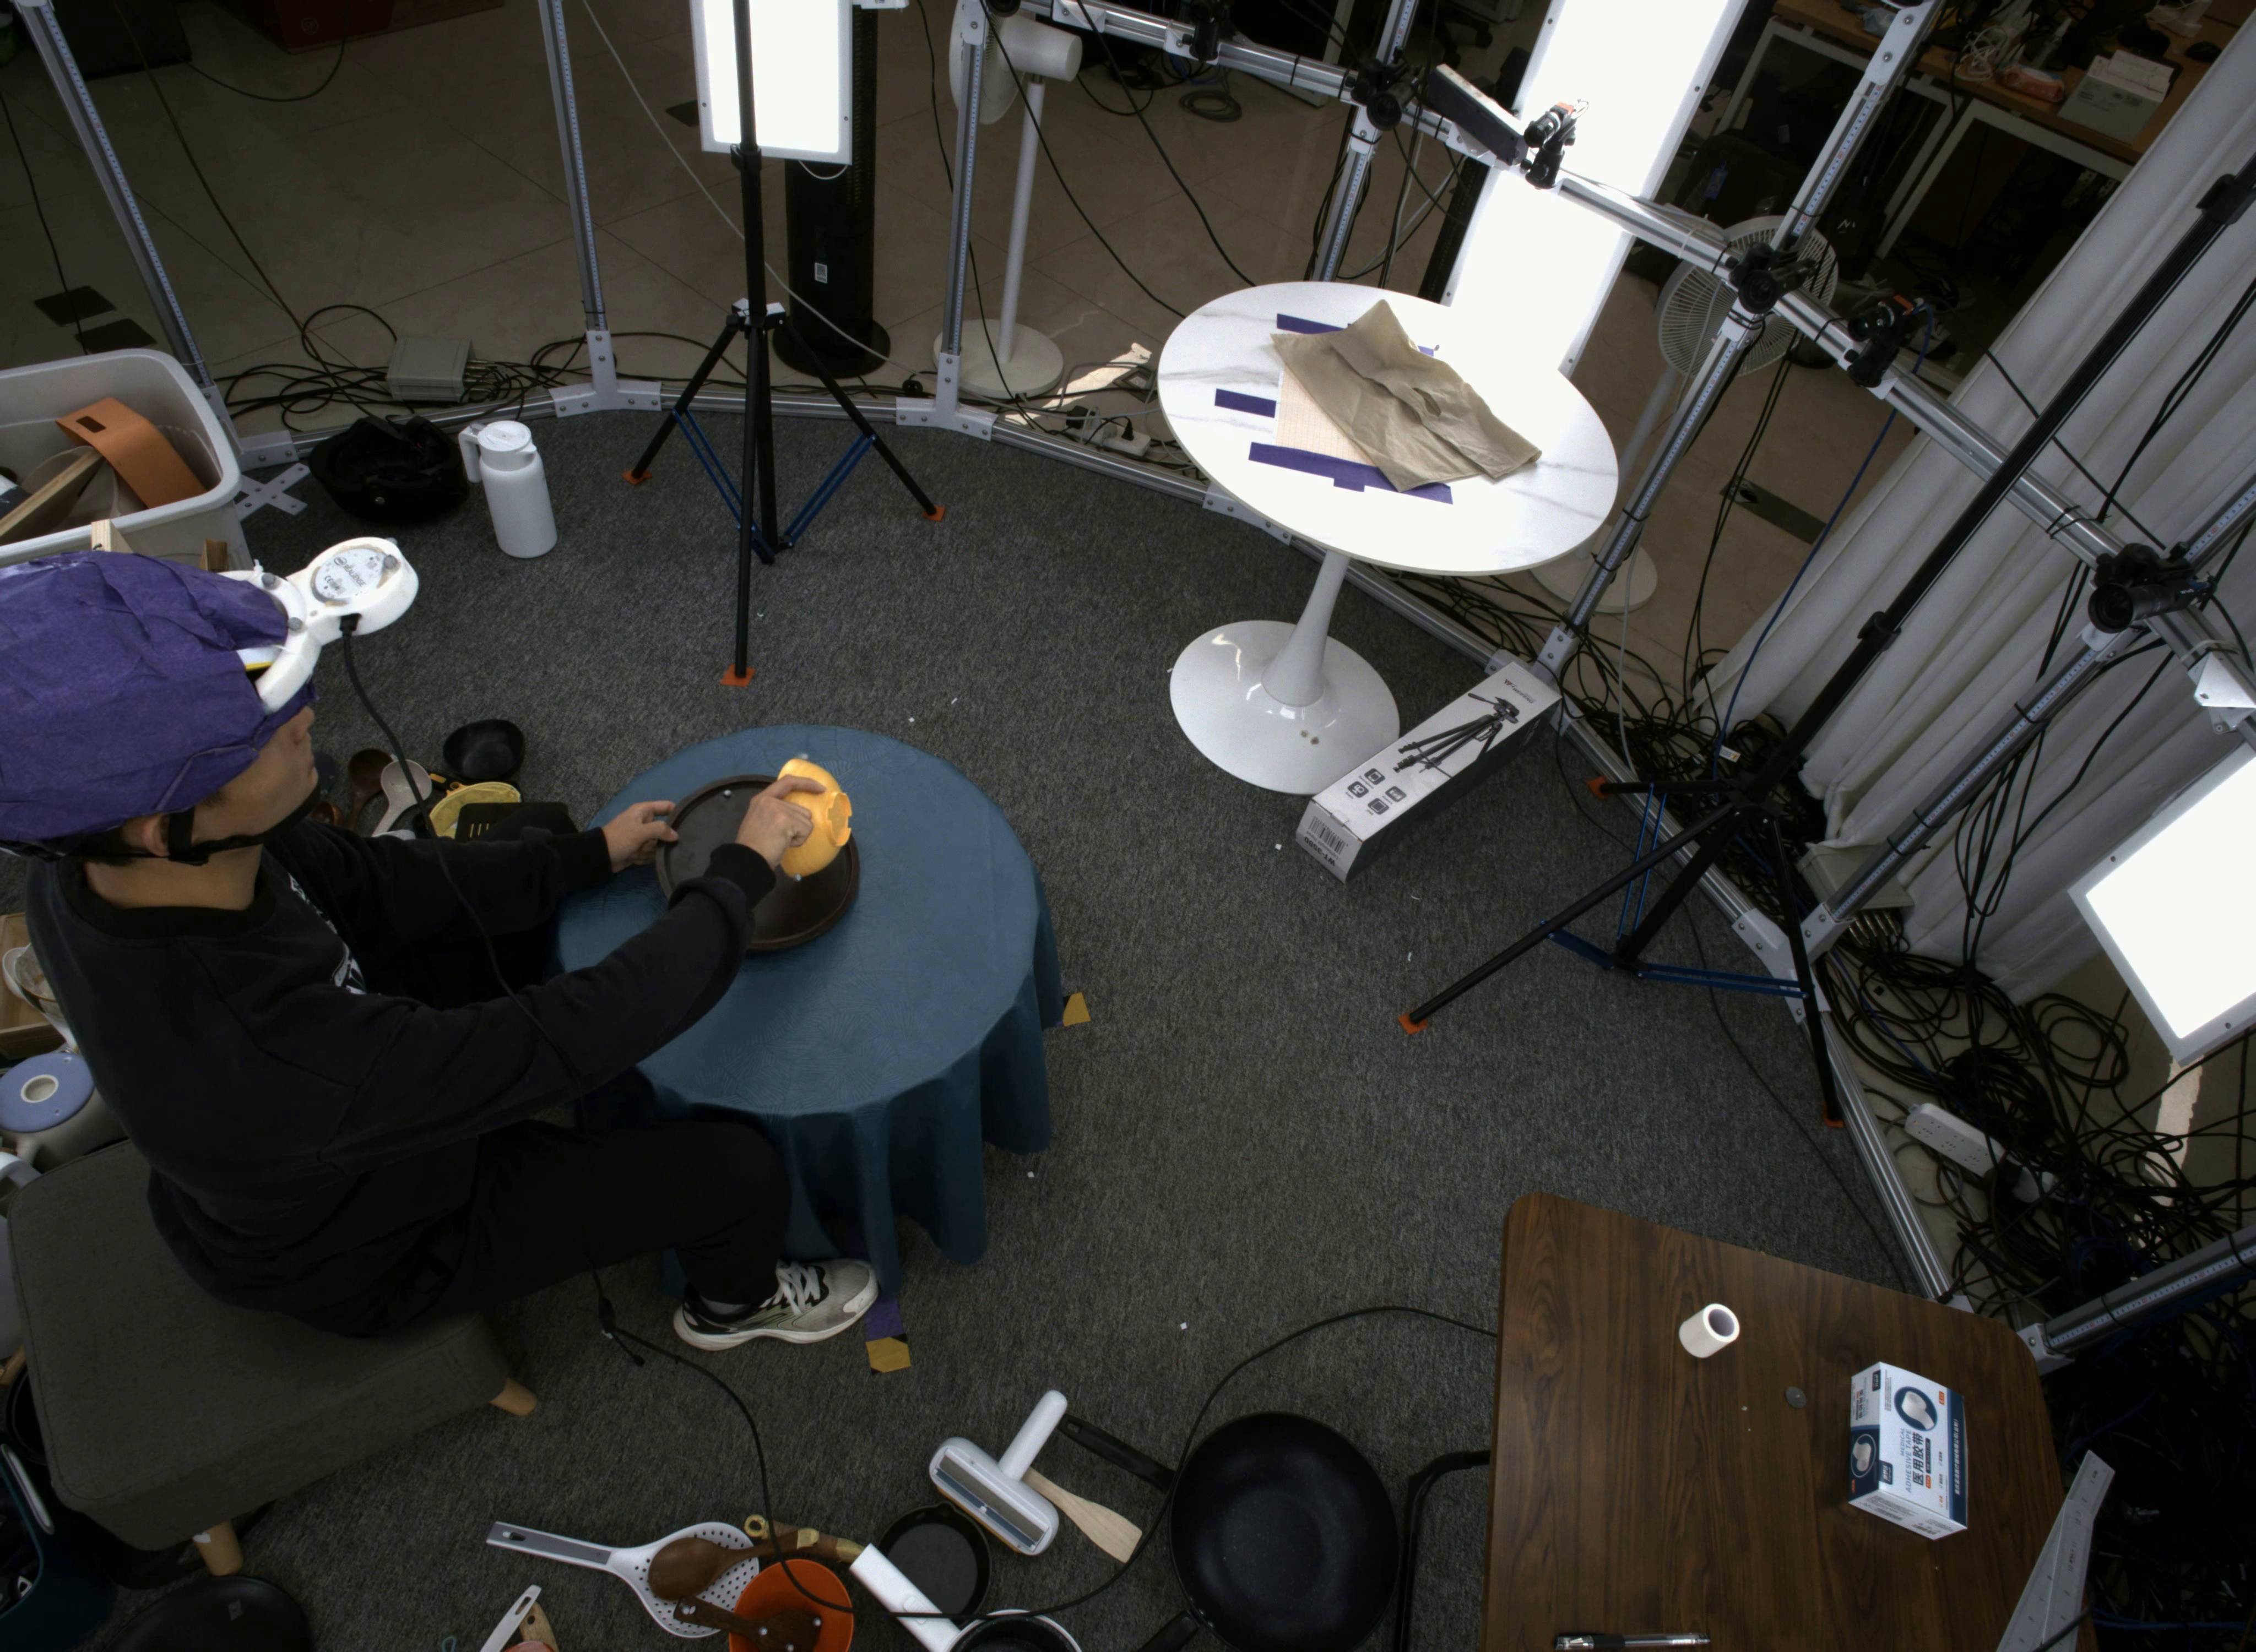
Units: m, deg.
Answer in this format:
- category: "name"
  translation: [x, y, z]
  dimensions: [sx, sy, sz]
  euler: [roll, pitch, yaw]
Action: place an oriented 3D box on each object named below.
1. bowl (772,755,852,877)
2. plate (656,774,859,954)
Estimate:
- category: "bowl"
  translation: [-0.373, -0.015, 1.564]
  dimensions: [0.059, 0.150, 0.143]
  euler: [-2, 51, 8]
- category: "plate"
  translation: [-0.468, 0.045, 1.642]
  dimensions: [0.257, 0.029, 0.251]
  euler: [13, 59, -19]
